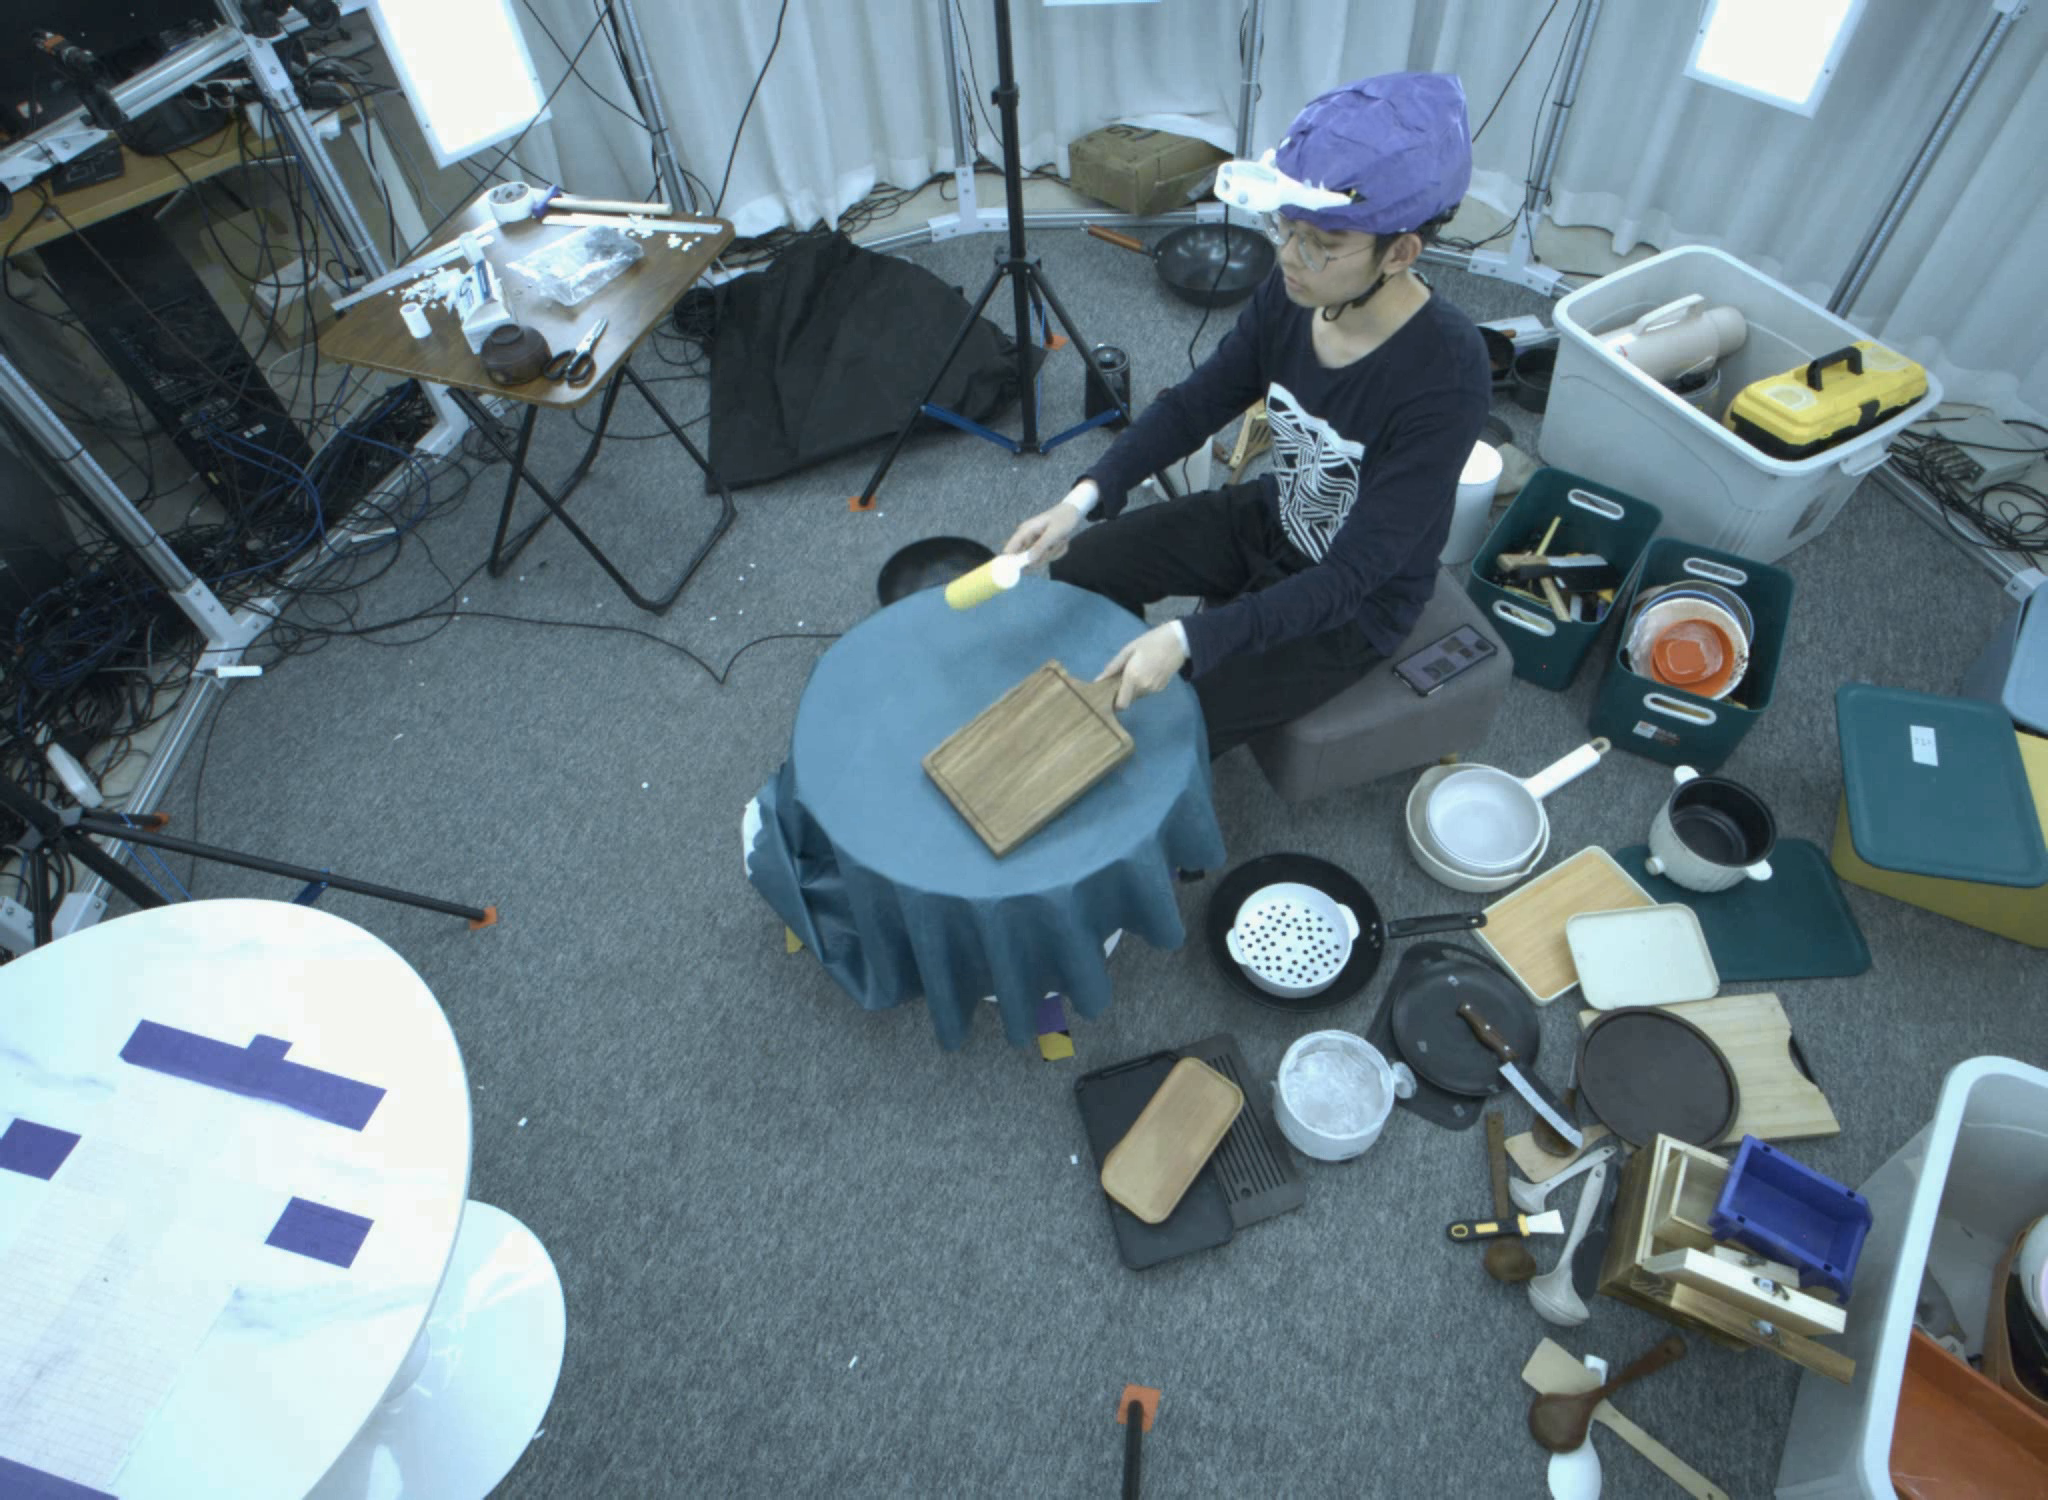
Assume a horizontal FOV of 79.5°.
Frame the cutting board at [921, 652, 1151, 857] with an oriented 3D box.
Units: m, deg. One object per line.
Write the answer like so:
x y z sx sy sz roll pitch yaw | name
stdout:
0.043 -0.023 1.749 0.353 0.023 0.197 -38 63 -9 | cutting board

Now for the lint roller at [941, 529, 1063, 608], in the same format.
-0.019 -0.288 1.824 0.193 0.171 0.052 -46 108 -25 | lint roller
